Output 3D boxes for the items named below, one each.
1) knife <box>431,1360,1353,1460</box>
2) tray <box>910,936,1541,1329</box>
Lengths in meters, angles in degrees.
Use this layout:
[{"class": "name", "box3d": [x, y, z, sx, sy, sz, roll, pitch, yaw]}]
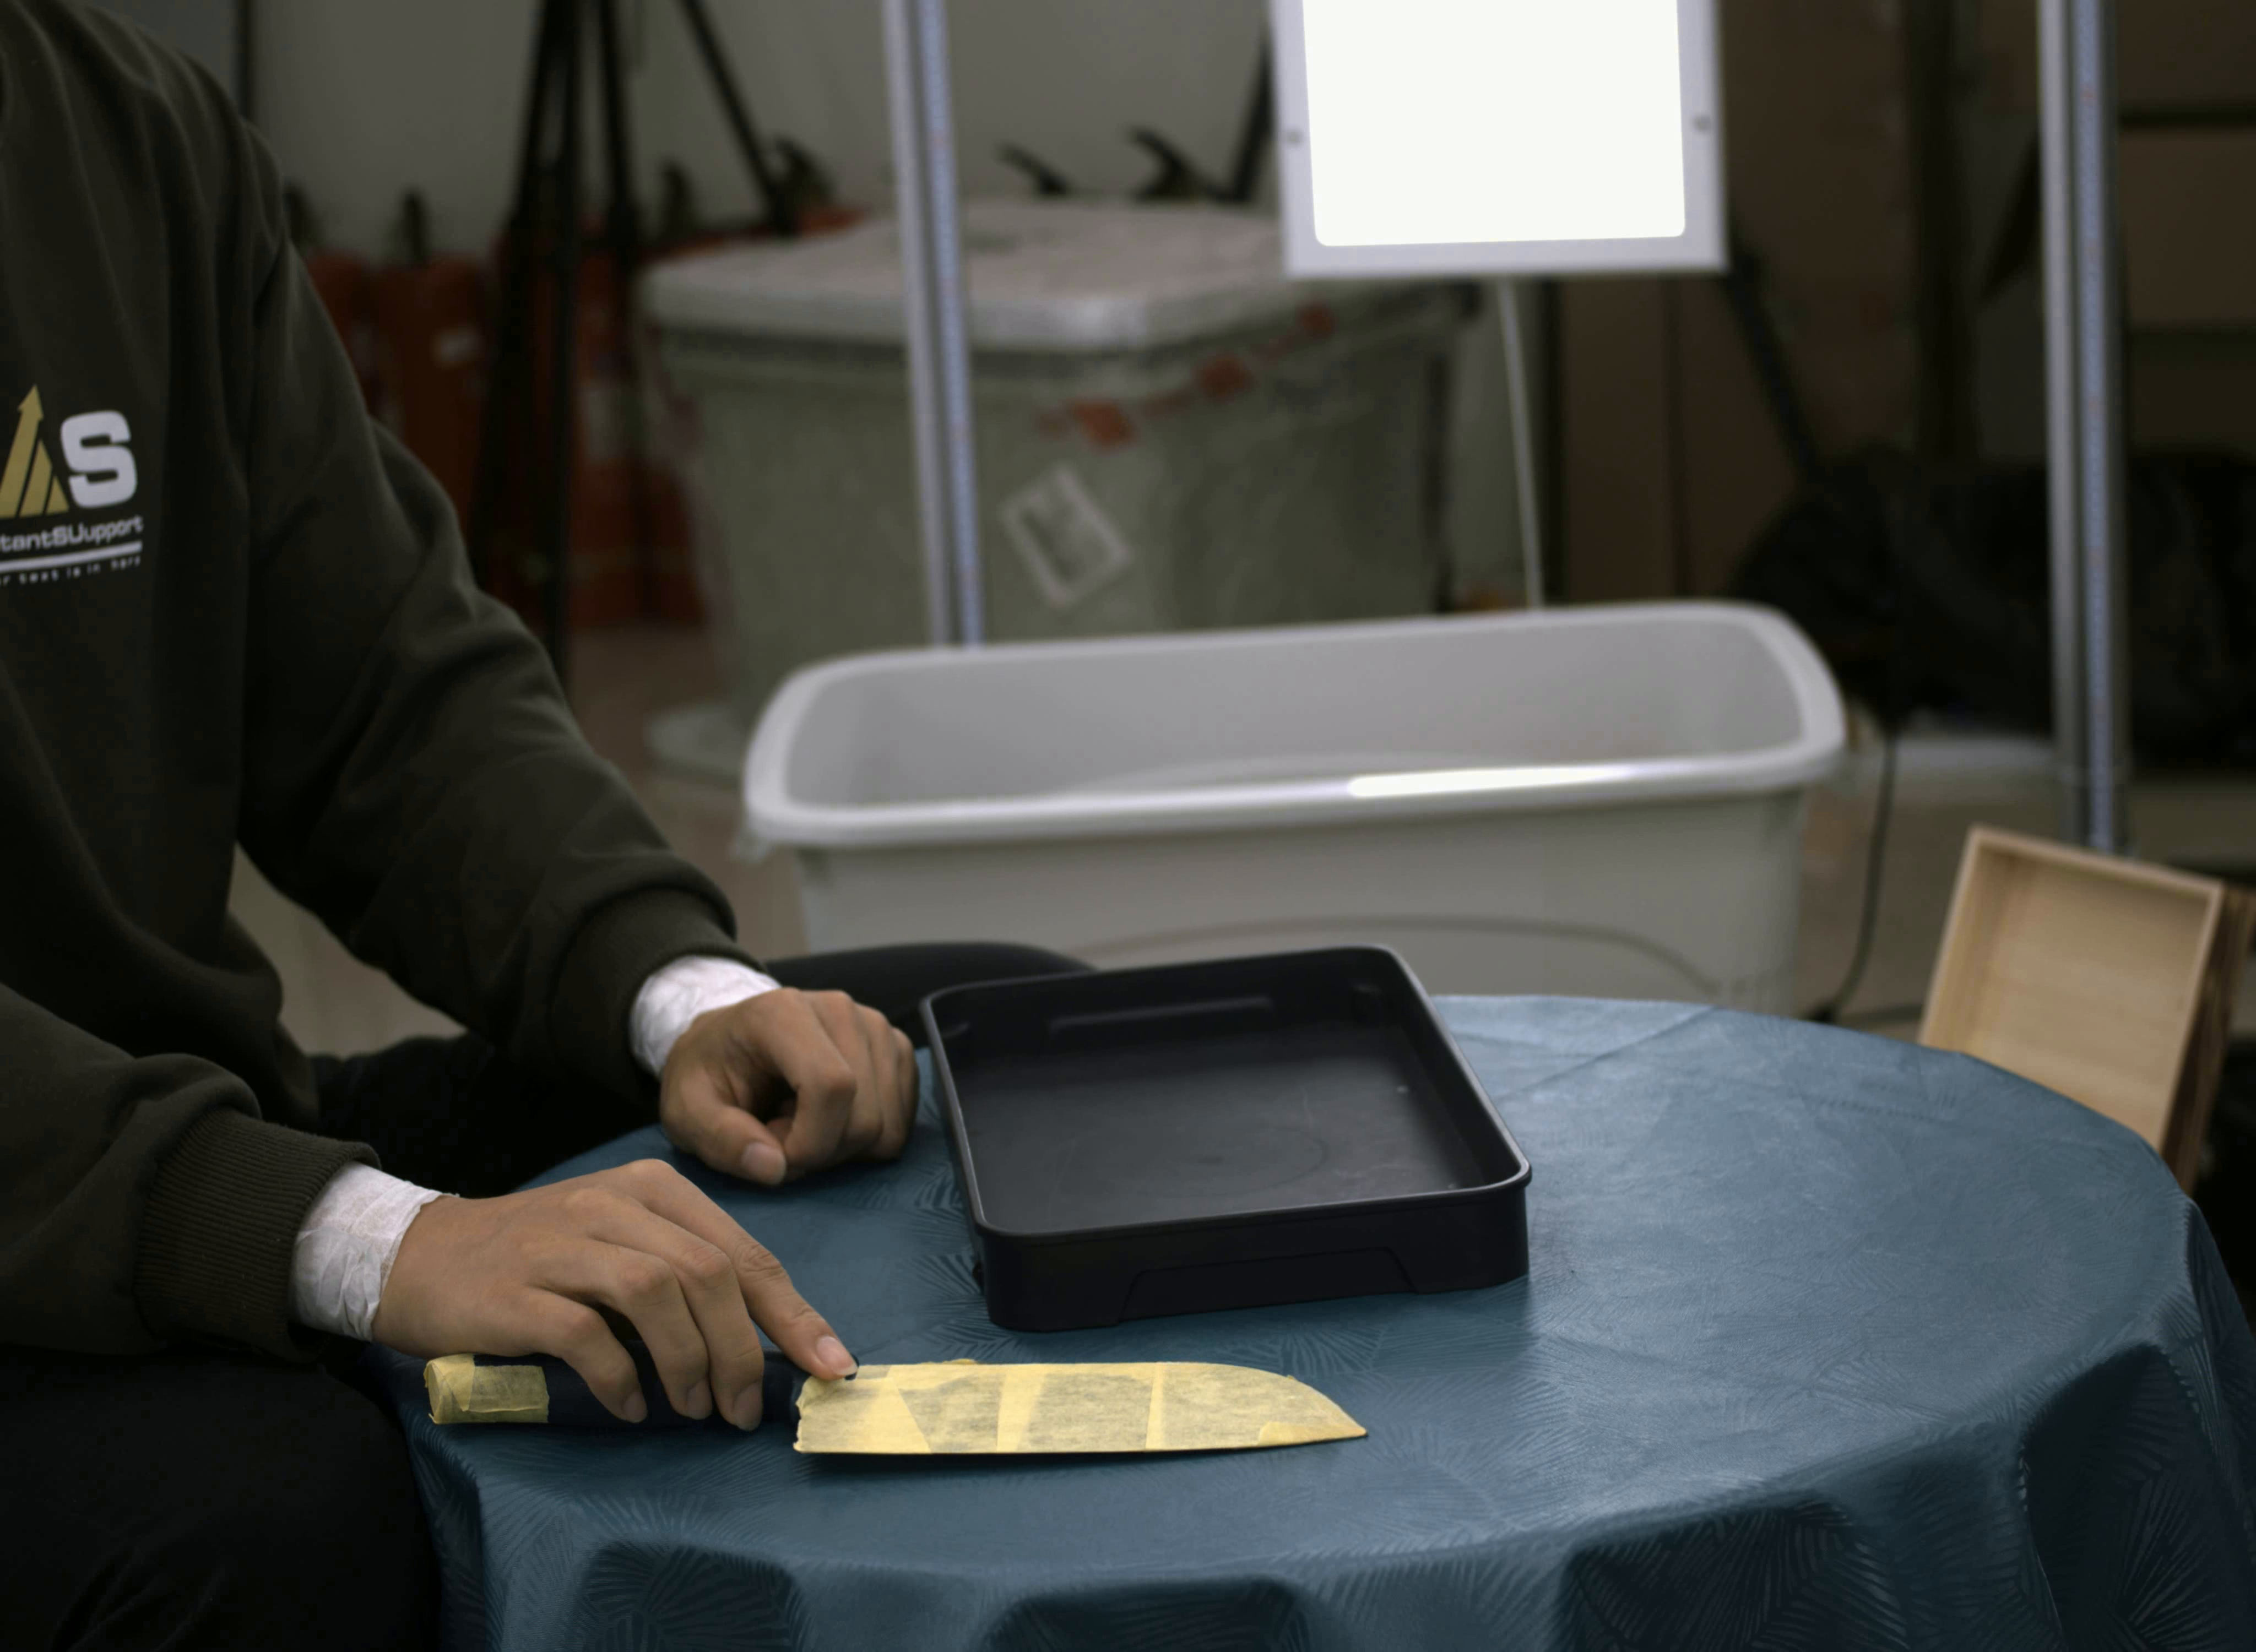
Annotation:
[{"class": "knife", "box3d": [-0.074, 0.179, 1.684, 0.291, 0.027, 0.080, -2, 12, 9]}, {"class": "tray", "box3d": [0.028, 0.102, 1.918, 0.183, 0.037, 0.319, -7, 14, -5]}]
